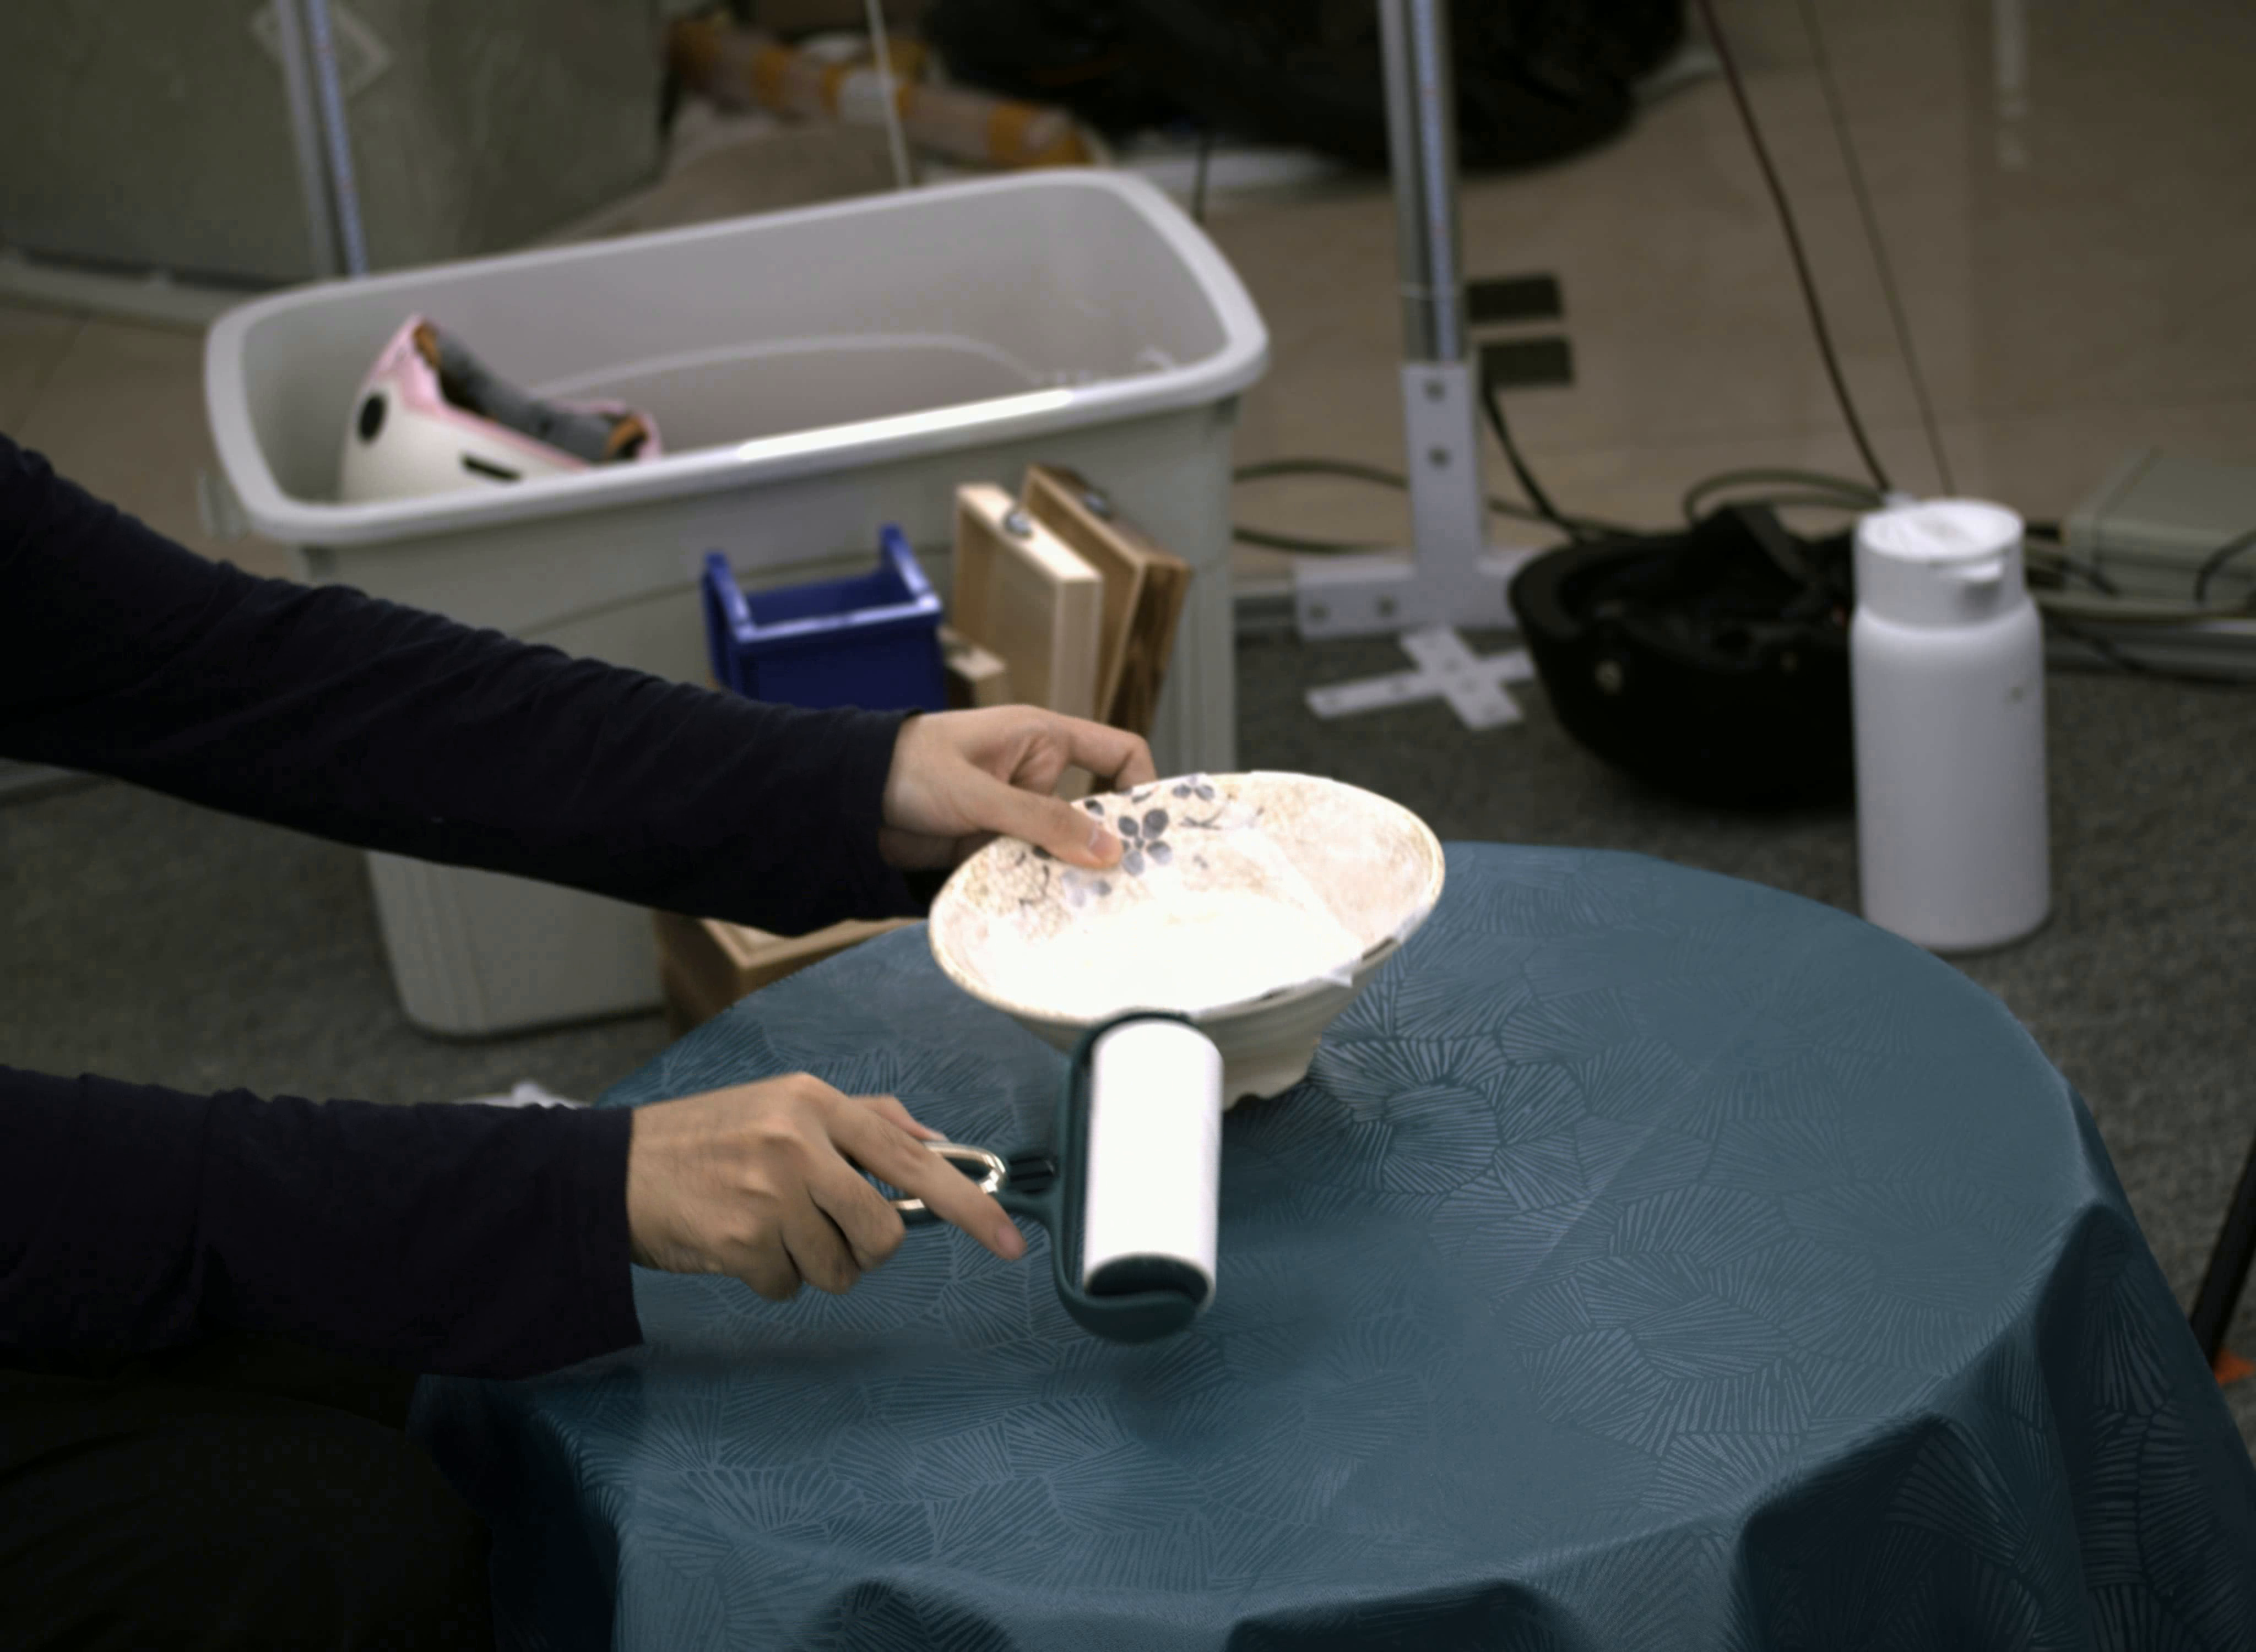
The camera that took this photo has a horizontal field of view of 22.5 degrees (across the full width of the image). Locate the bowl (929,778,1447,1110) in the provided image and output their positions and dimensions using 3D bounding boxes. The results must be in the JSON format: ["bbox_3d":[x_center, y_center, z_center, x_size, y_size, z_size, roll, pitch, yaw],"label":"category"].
[{"bbox_3d":[0.029,0.057,2.208,0.204,0.079,0.201,-9,24,4],"label":"bowl"}]

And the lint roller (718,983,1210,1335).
[{"bbox_3d":[-0.060,0.122,2.031,0.180,0.049,0.132,-2,54,3],"label":"lint roller"}]
